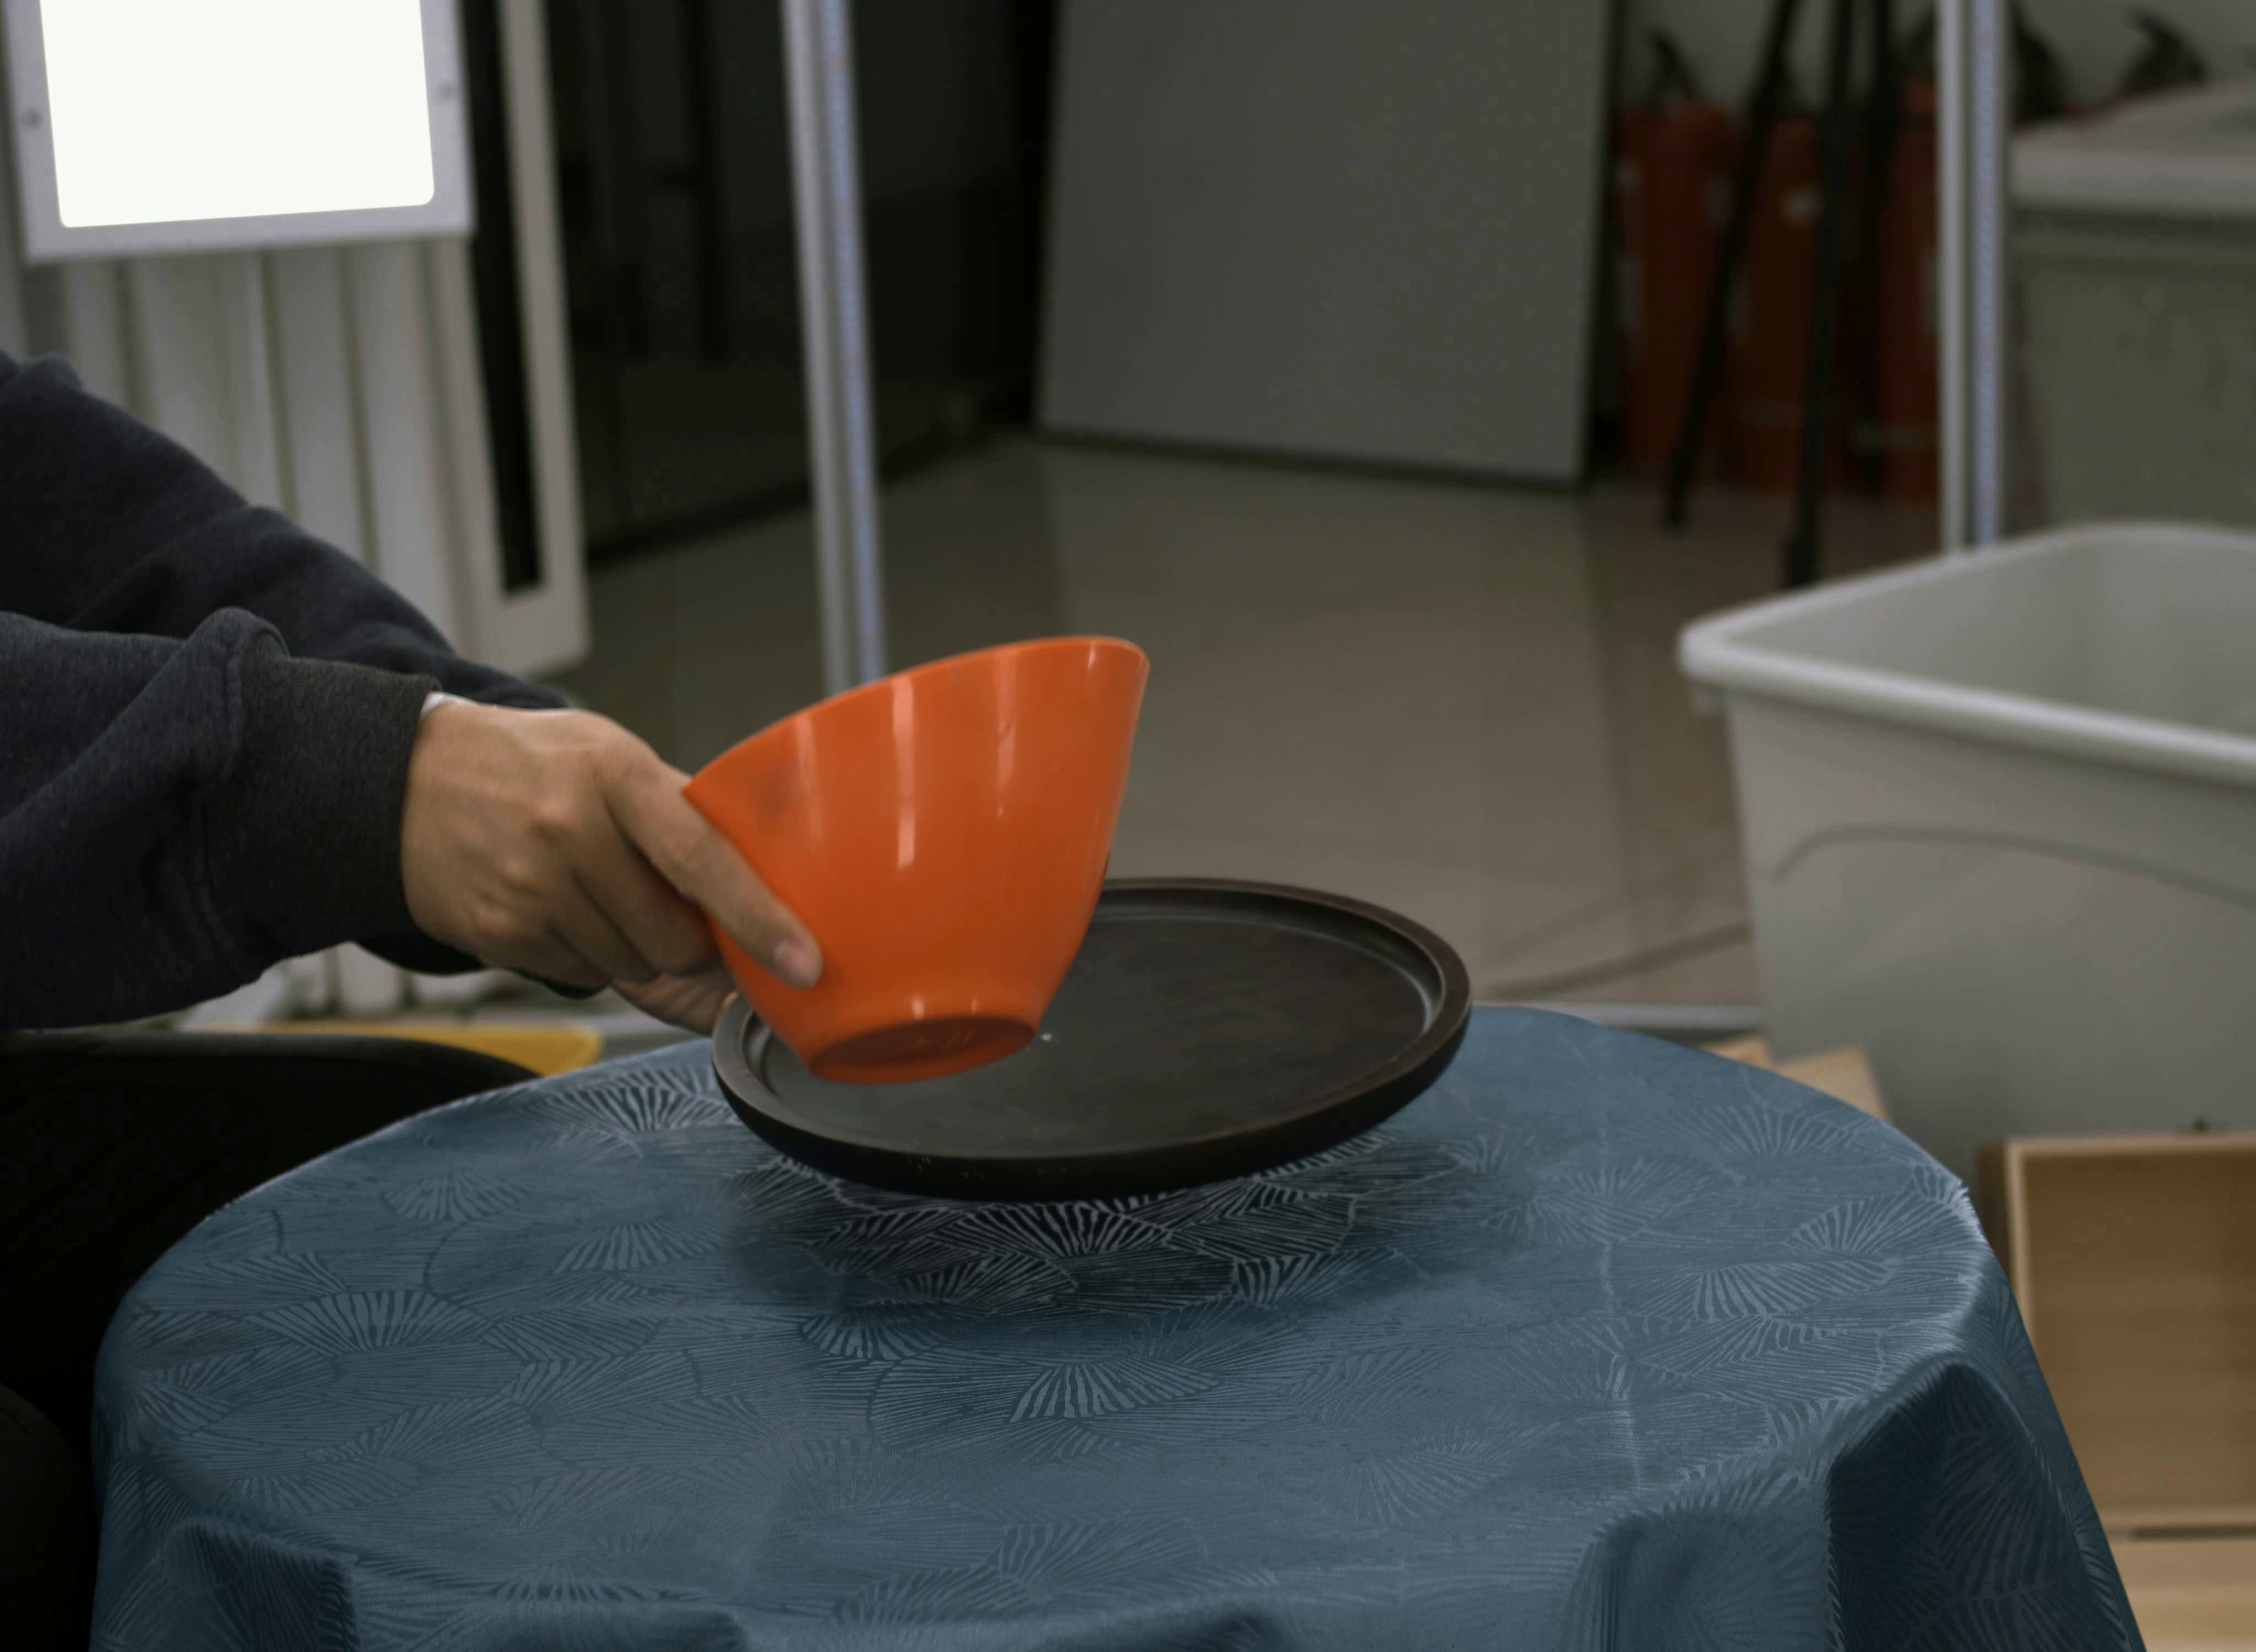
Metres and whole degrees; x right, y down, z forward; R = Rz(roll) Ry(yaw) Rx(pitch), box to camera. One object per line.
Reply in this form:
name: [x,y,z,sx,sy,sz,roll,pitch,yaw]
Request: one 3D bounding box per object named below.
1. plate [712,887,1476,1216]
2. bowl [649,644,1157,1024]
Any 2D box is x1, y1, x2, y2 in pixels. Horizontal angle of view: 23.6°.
plate: [-0.011,0.071,1.764,0.251,0.029,0.255,-5,20,1]
bowl: [-0.062,0.003,1.541,0.146,0.106,0.148,-2,-2,-1]
